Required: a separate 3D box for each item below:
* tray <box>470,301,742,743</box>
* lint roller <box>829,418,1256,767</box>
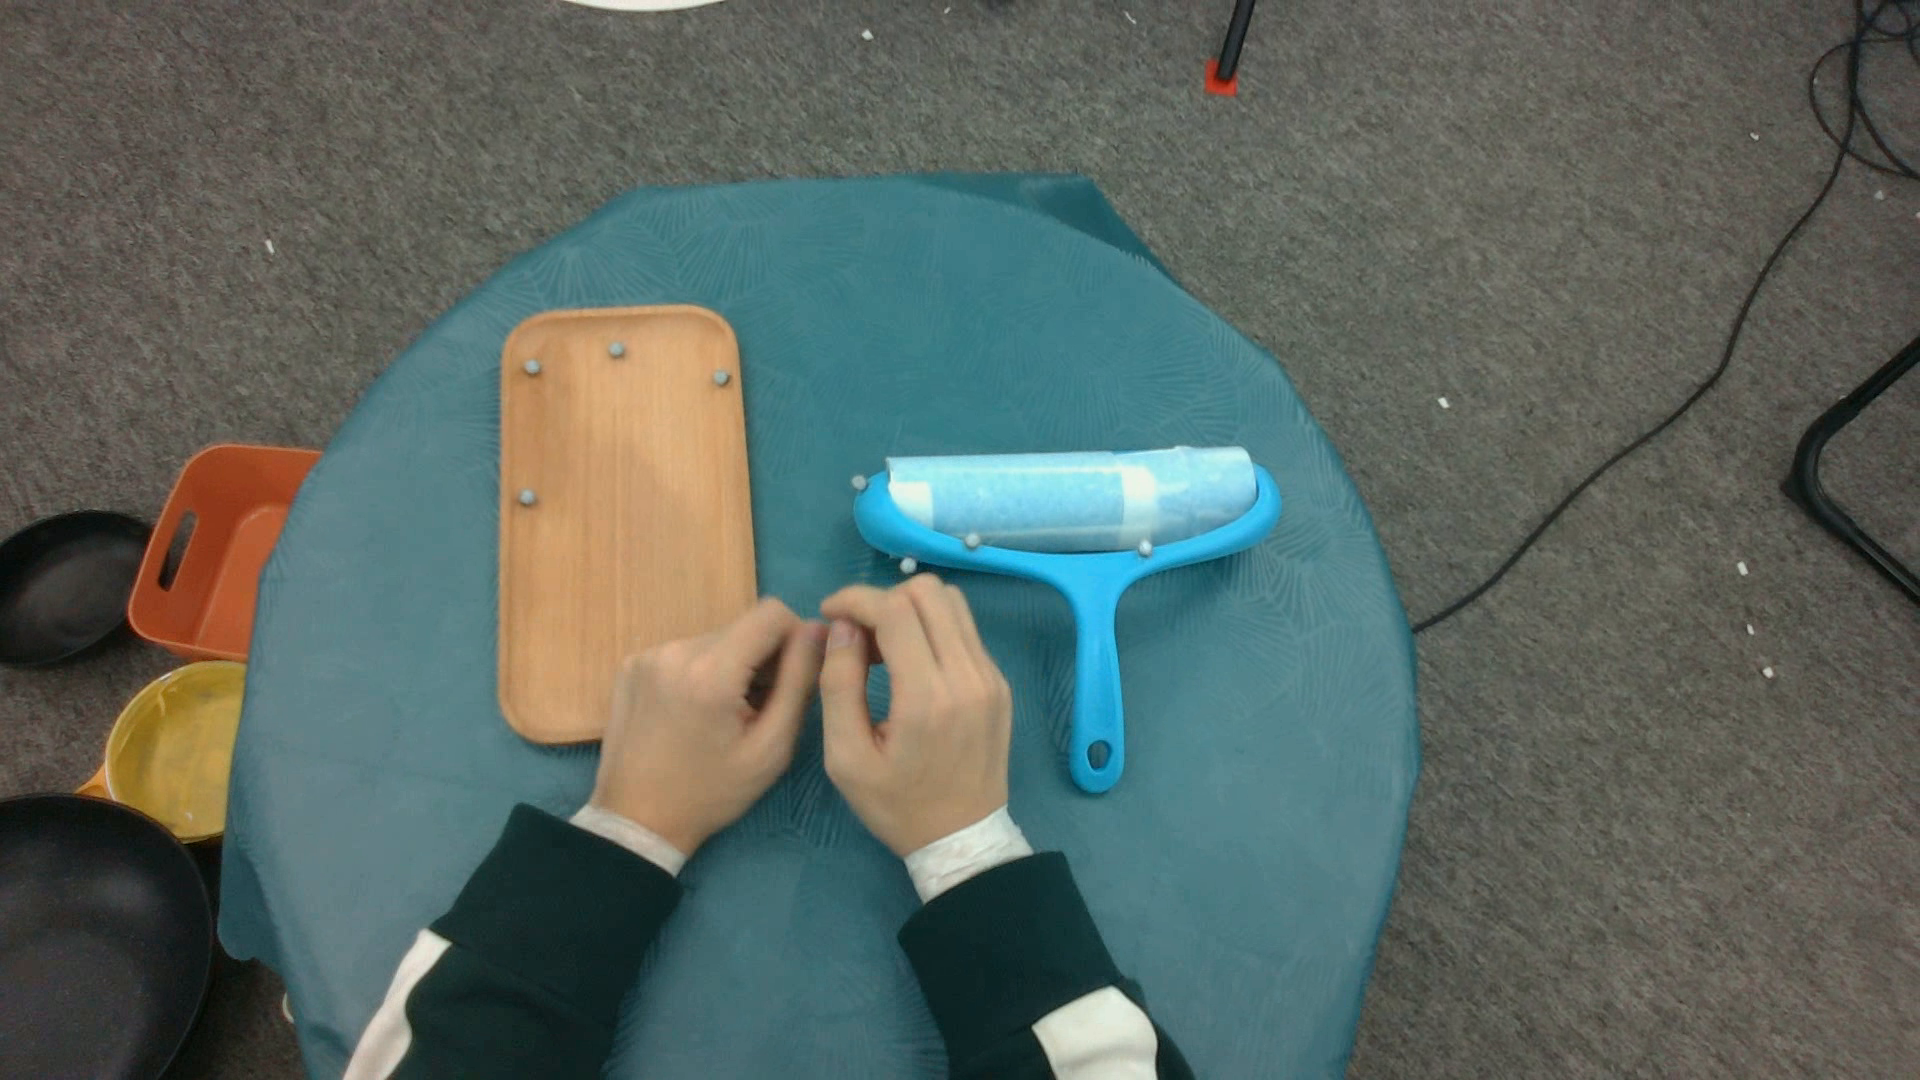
[{"bbox_3d":[-0.188,-0.017,0.721,0.130,0.023,0.251,-6,65,-7],"label":"tray"},{"bbox_3d":[0.055,0.021,0.707,0.229,0.067,0.181,-6,64,-11],"label":"lint roller"}]
